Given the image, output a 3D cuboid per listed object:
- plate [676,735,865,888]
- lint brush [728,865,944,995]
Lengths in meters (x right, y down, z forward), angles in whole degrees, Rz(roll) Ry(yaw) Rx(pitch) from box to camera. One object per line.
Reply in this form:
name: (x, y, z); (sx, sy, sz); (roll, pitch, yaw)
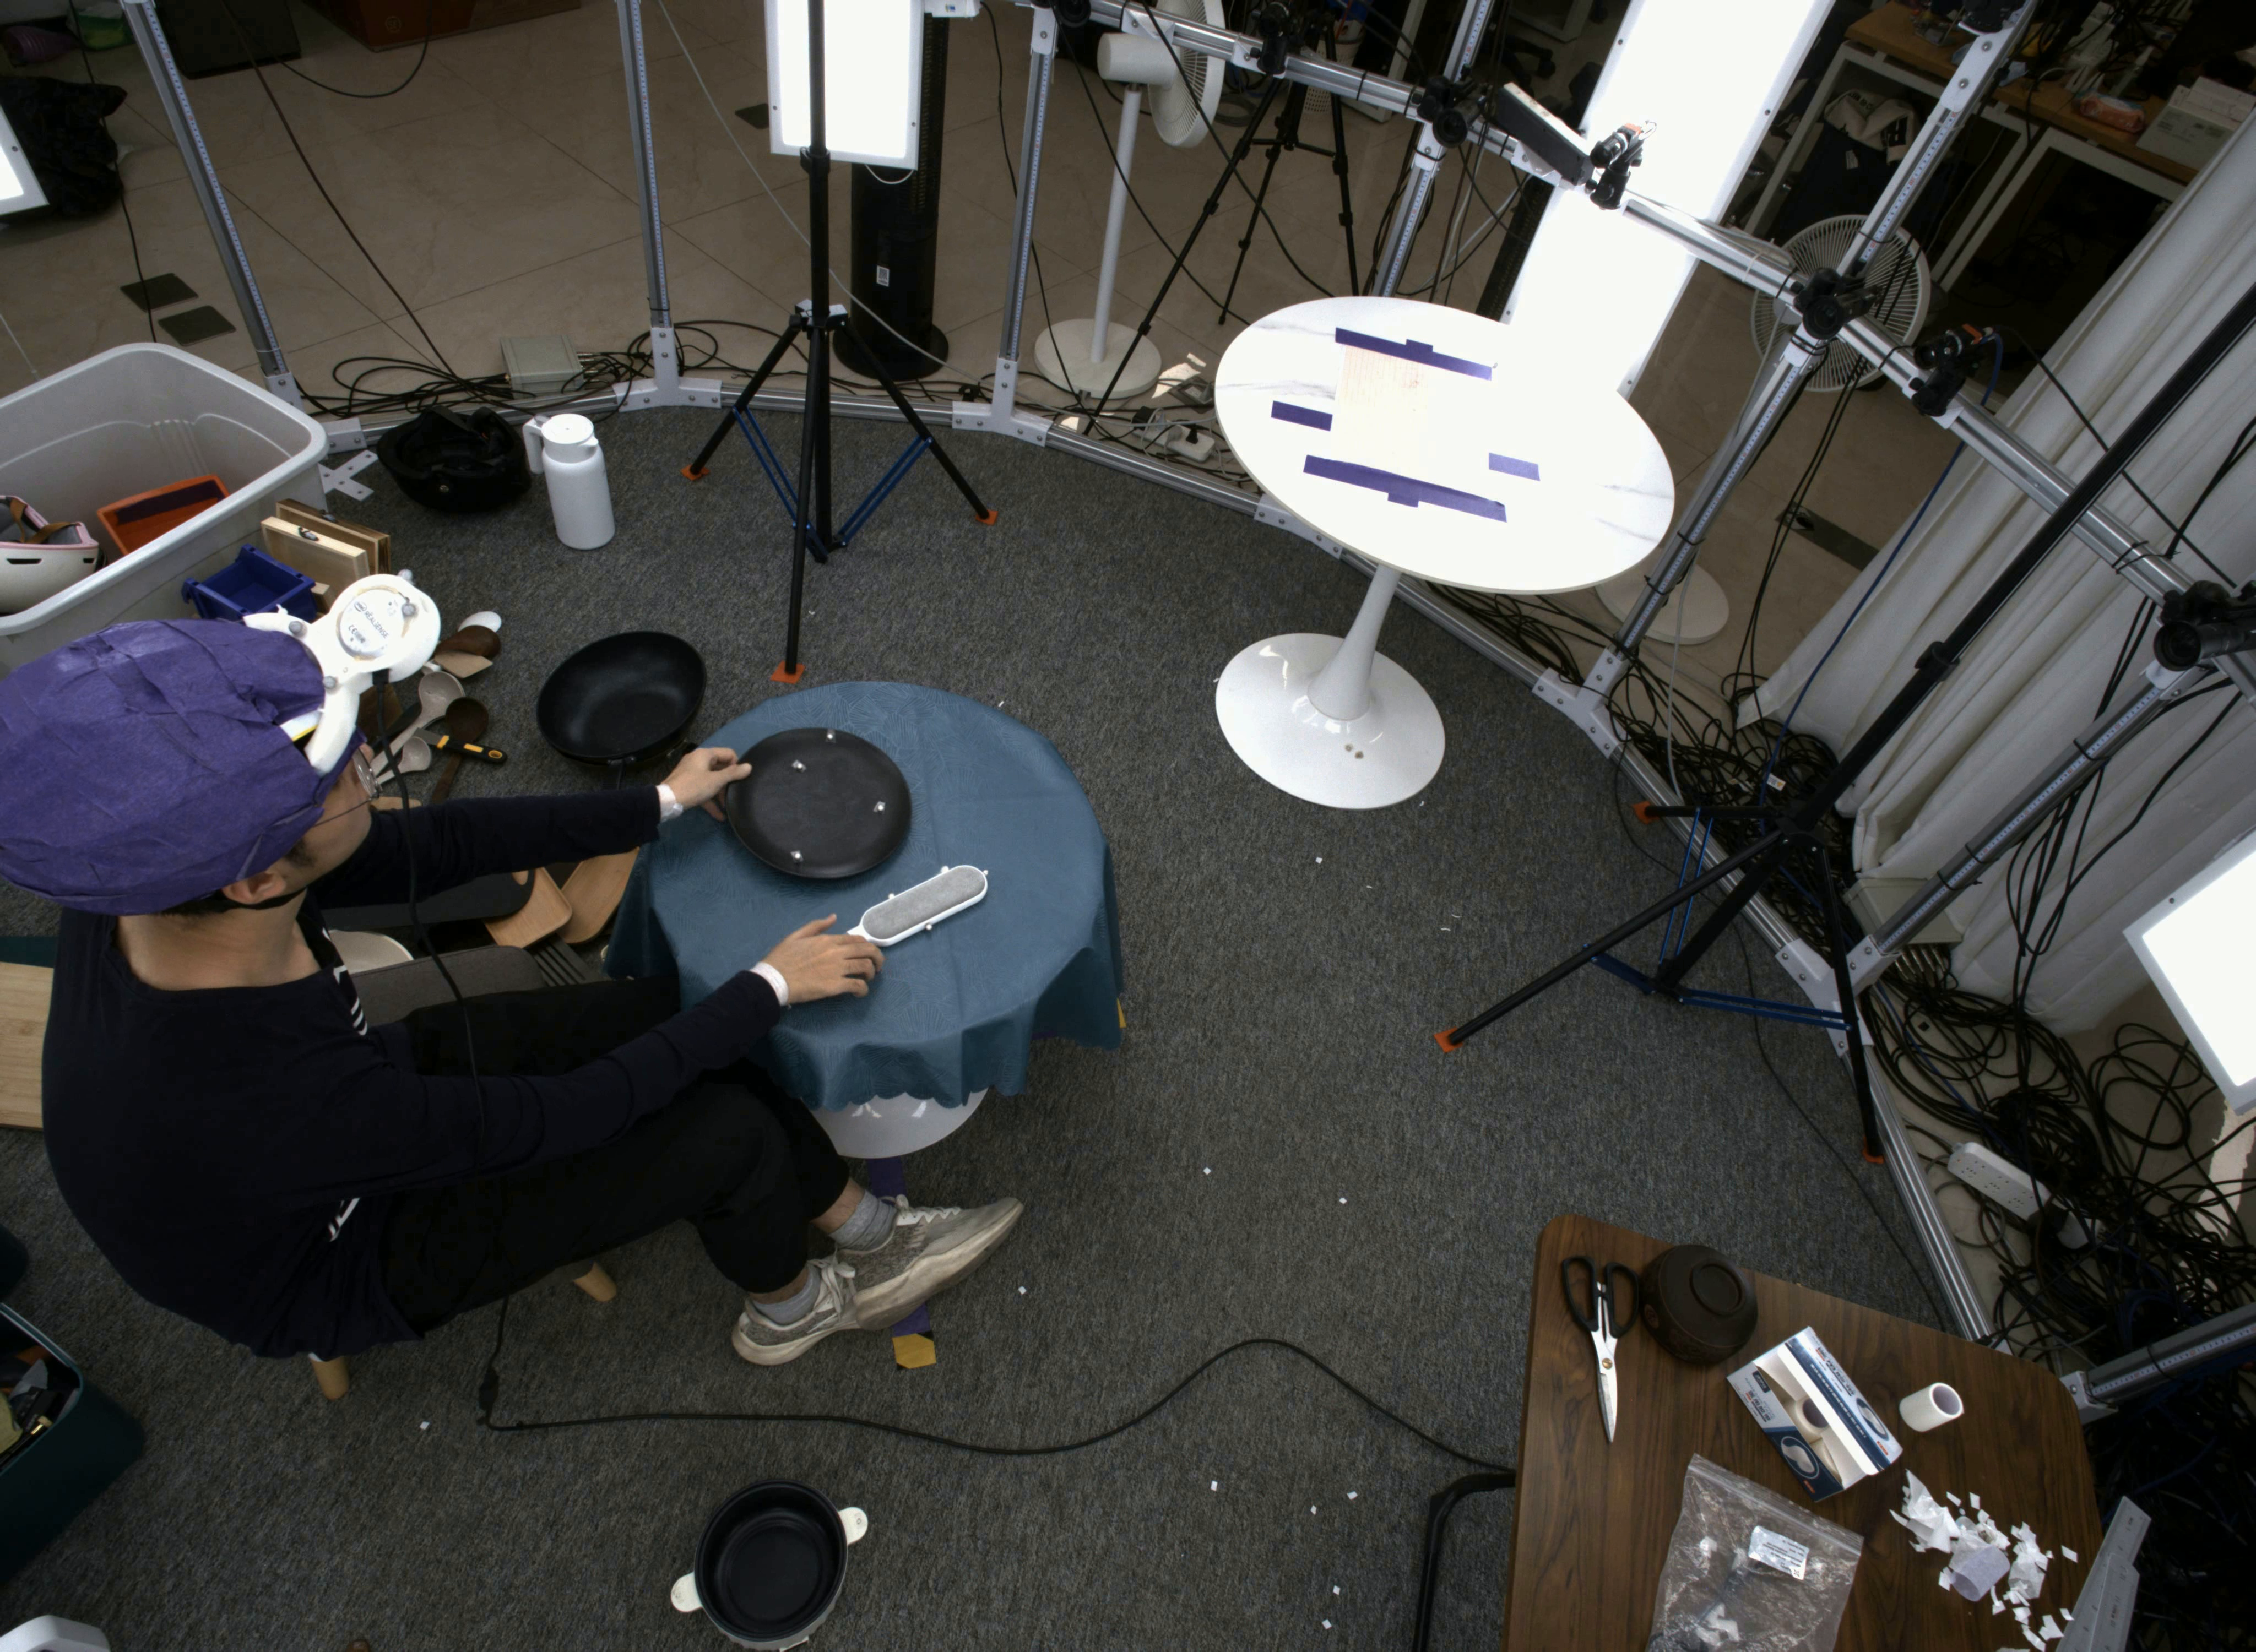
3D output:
plate: (-0.470, -0.018, 1.710); (0.245, 0.024, 0.240); (11, 54, -14)
lint brush: (-0.365, 0.128, 1.638); (0.310, 0.021, 0.059); (-29, 71, -30)
